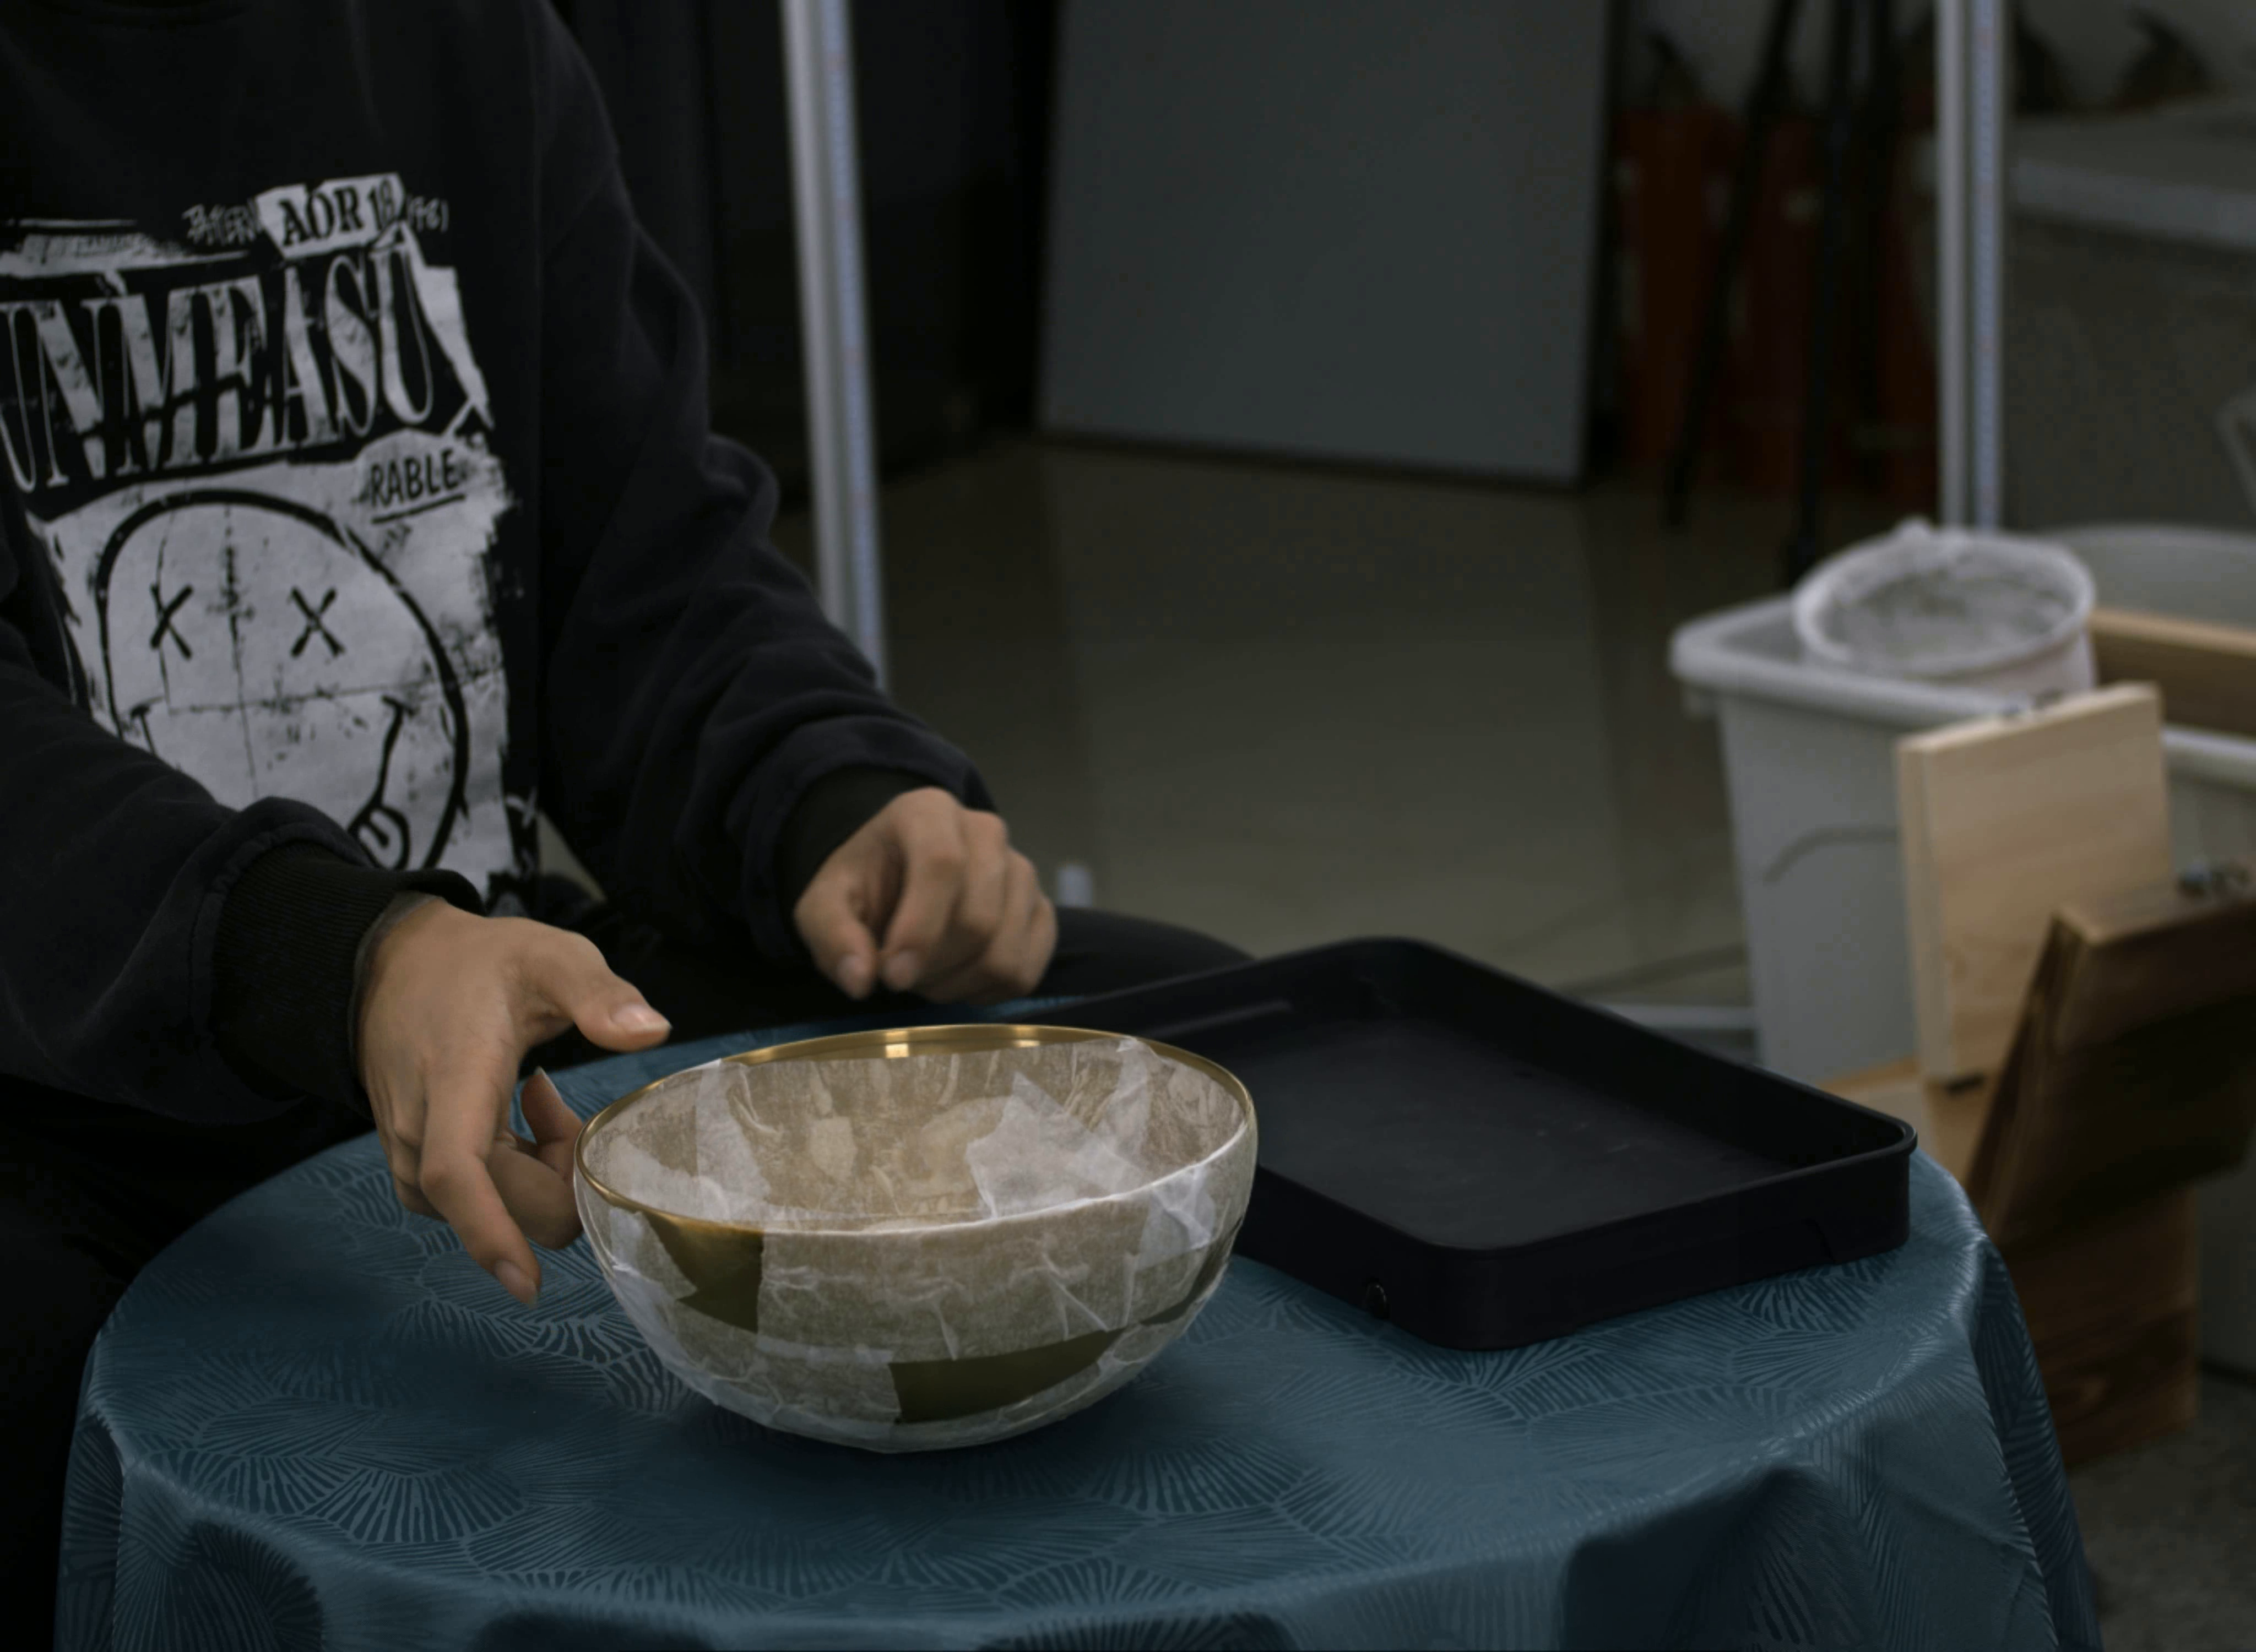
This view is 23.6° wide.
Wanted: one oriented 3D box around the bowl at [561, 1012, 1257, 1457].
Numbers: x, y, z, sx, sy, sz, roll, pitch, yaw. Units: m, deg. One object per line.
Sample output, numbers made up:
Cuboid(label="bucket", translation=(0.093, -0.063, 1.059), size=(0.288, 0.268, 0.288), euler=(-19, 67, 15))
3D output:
Cuboid(label="bowl", translation=(-0.059, 0.126, 1.574), size=(0.212, 0.095, 0.215), euler=(-5, 15, 0))

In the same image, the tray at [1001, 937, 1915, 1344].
Cuboid(label="tray", translation=(0.099, 0.097, 1.758), size=(0.180, 0.037, 0.321), euler=(-12, 15, -26))
